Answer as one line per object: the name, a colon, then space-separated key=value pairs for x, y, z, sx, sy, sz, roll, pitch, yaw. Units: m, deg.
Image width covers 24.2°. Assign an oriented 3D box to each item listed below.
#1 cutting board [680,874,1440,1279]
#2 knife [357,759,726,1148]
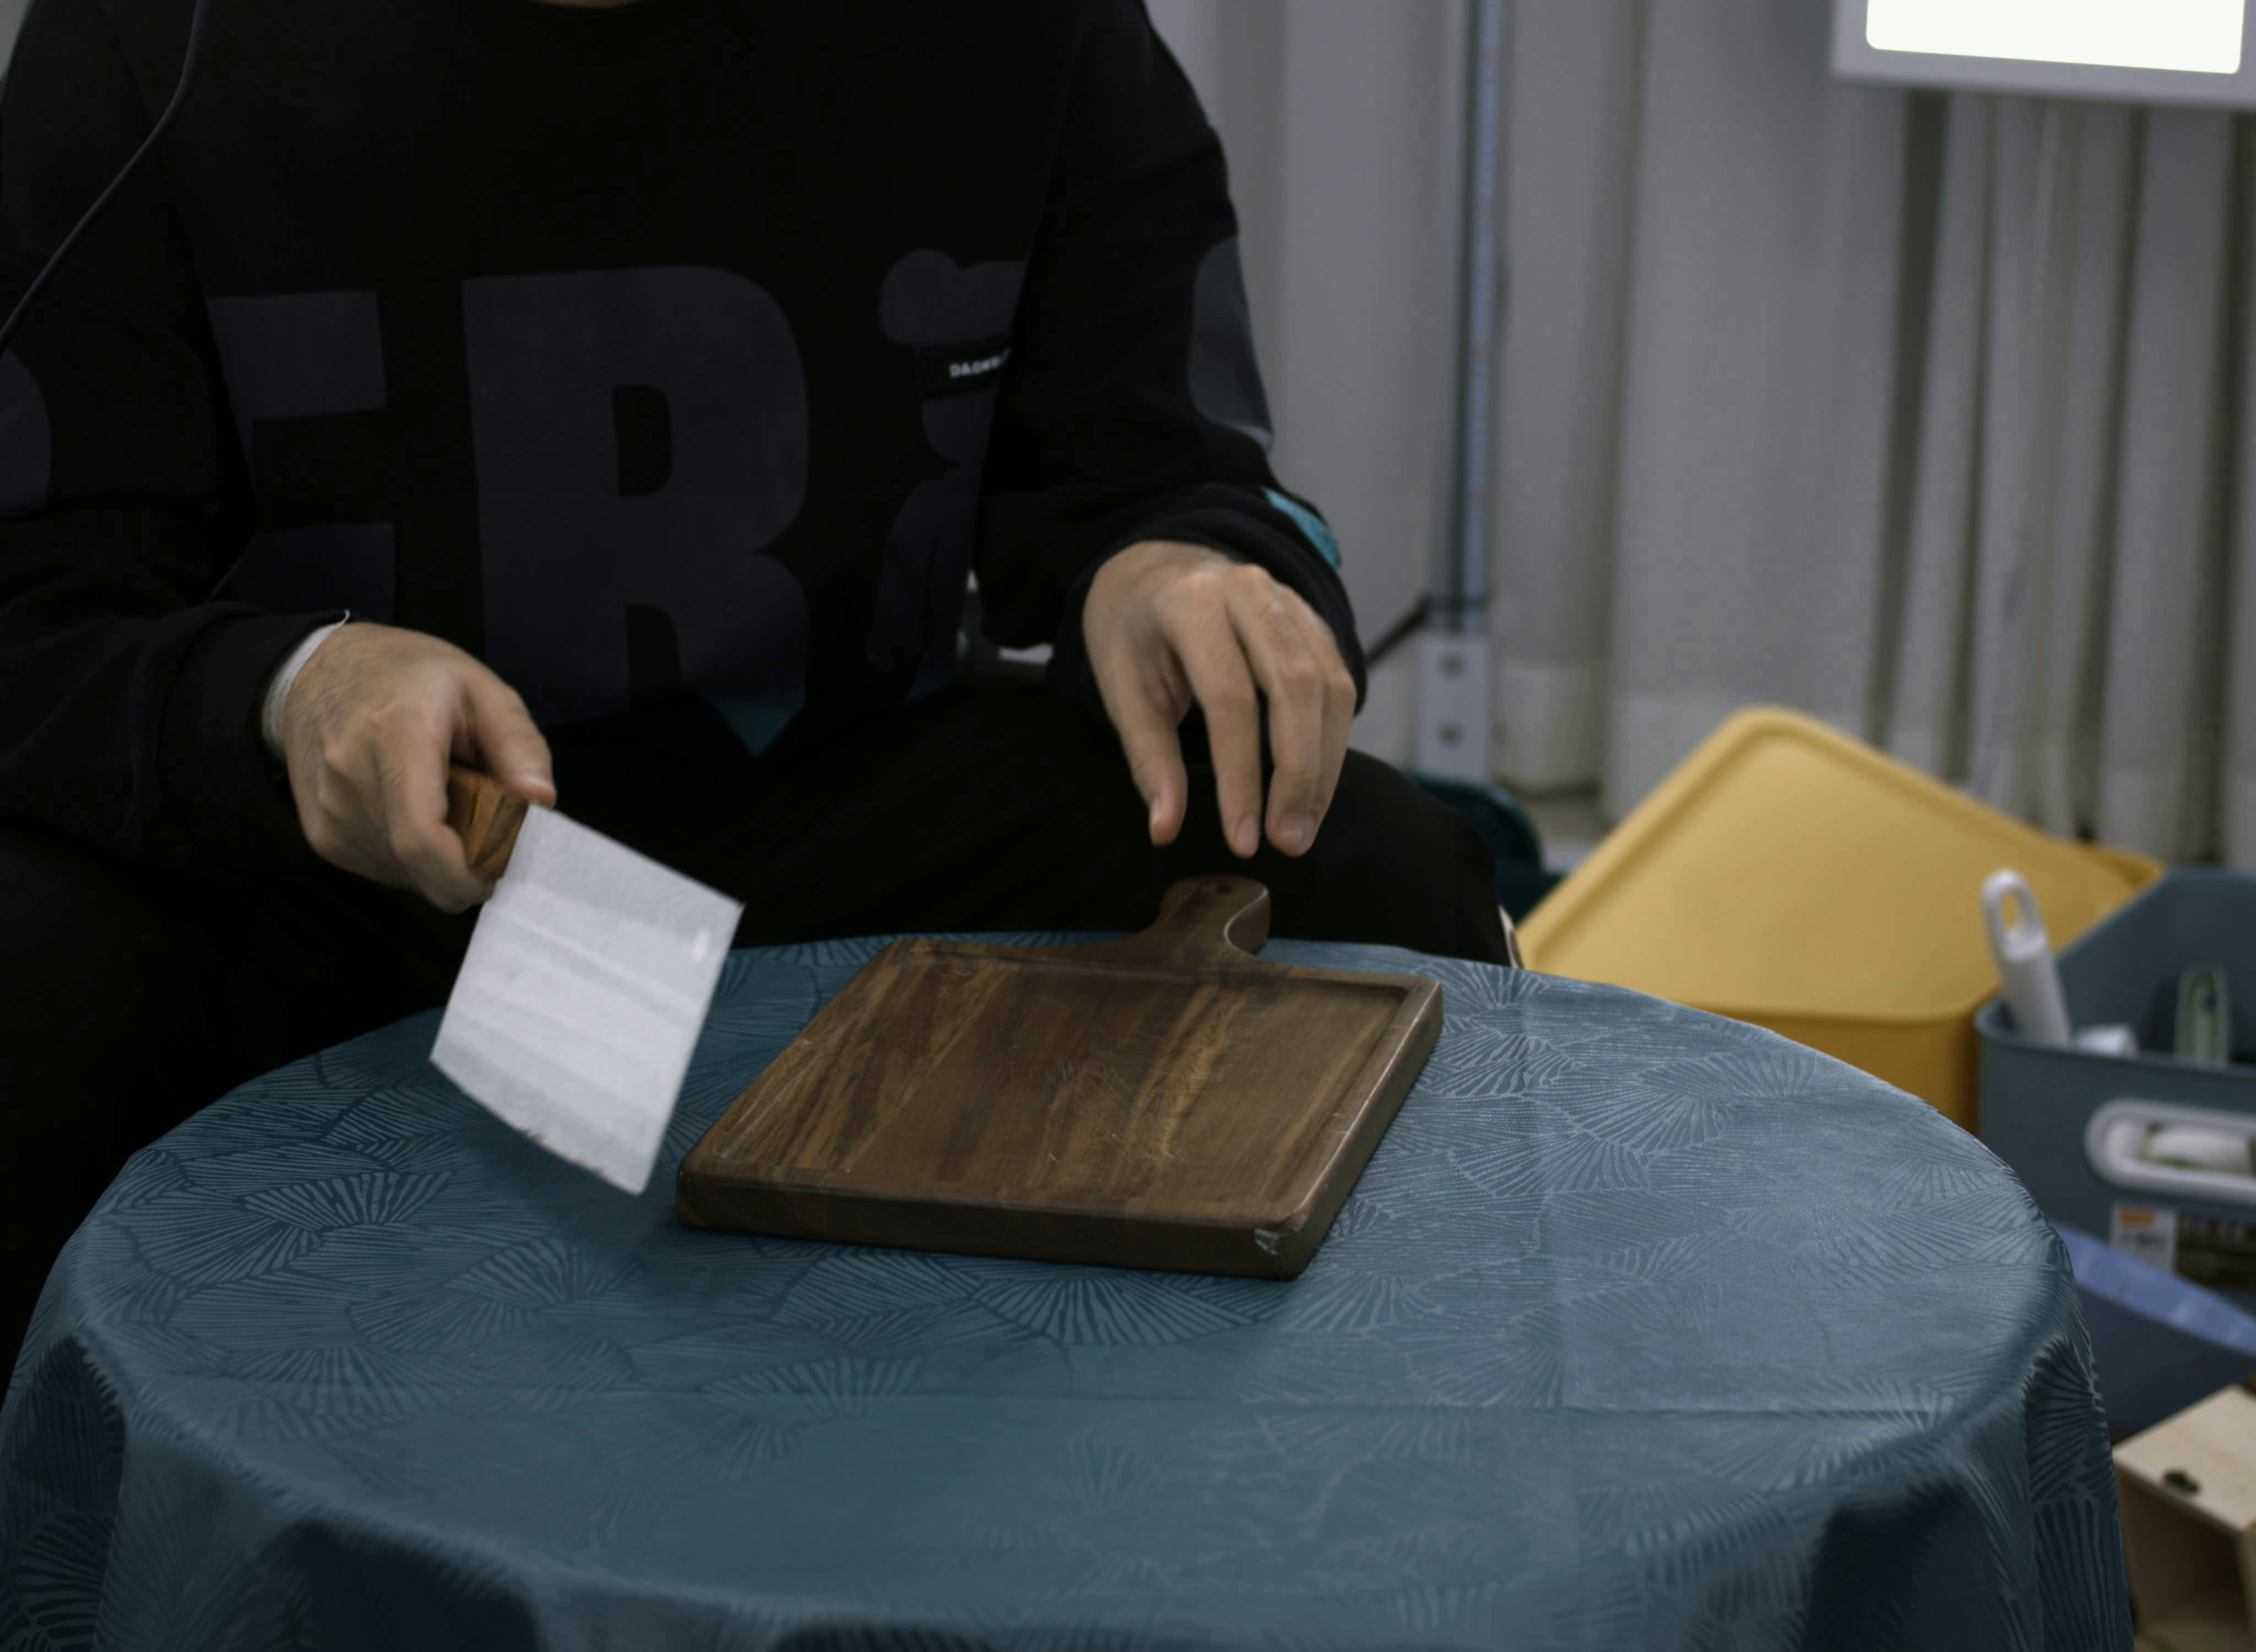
cutting board: x=-0.004 y=0.073 z=1.723 sx=0.199 sy=0.023 sz=0.351 roll=4 pitch=16 yaw=12
knife: x=-0.192 y=0.039 z=1.632 sx=0.021 sy=0.093 sz=0.302 roll=18 pitch=2 yaw=-27
